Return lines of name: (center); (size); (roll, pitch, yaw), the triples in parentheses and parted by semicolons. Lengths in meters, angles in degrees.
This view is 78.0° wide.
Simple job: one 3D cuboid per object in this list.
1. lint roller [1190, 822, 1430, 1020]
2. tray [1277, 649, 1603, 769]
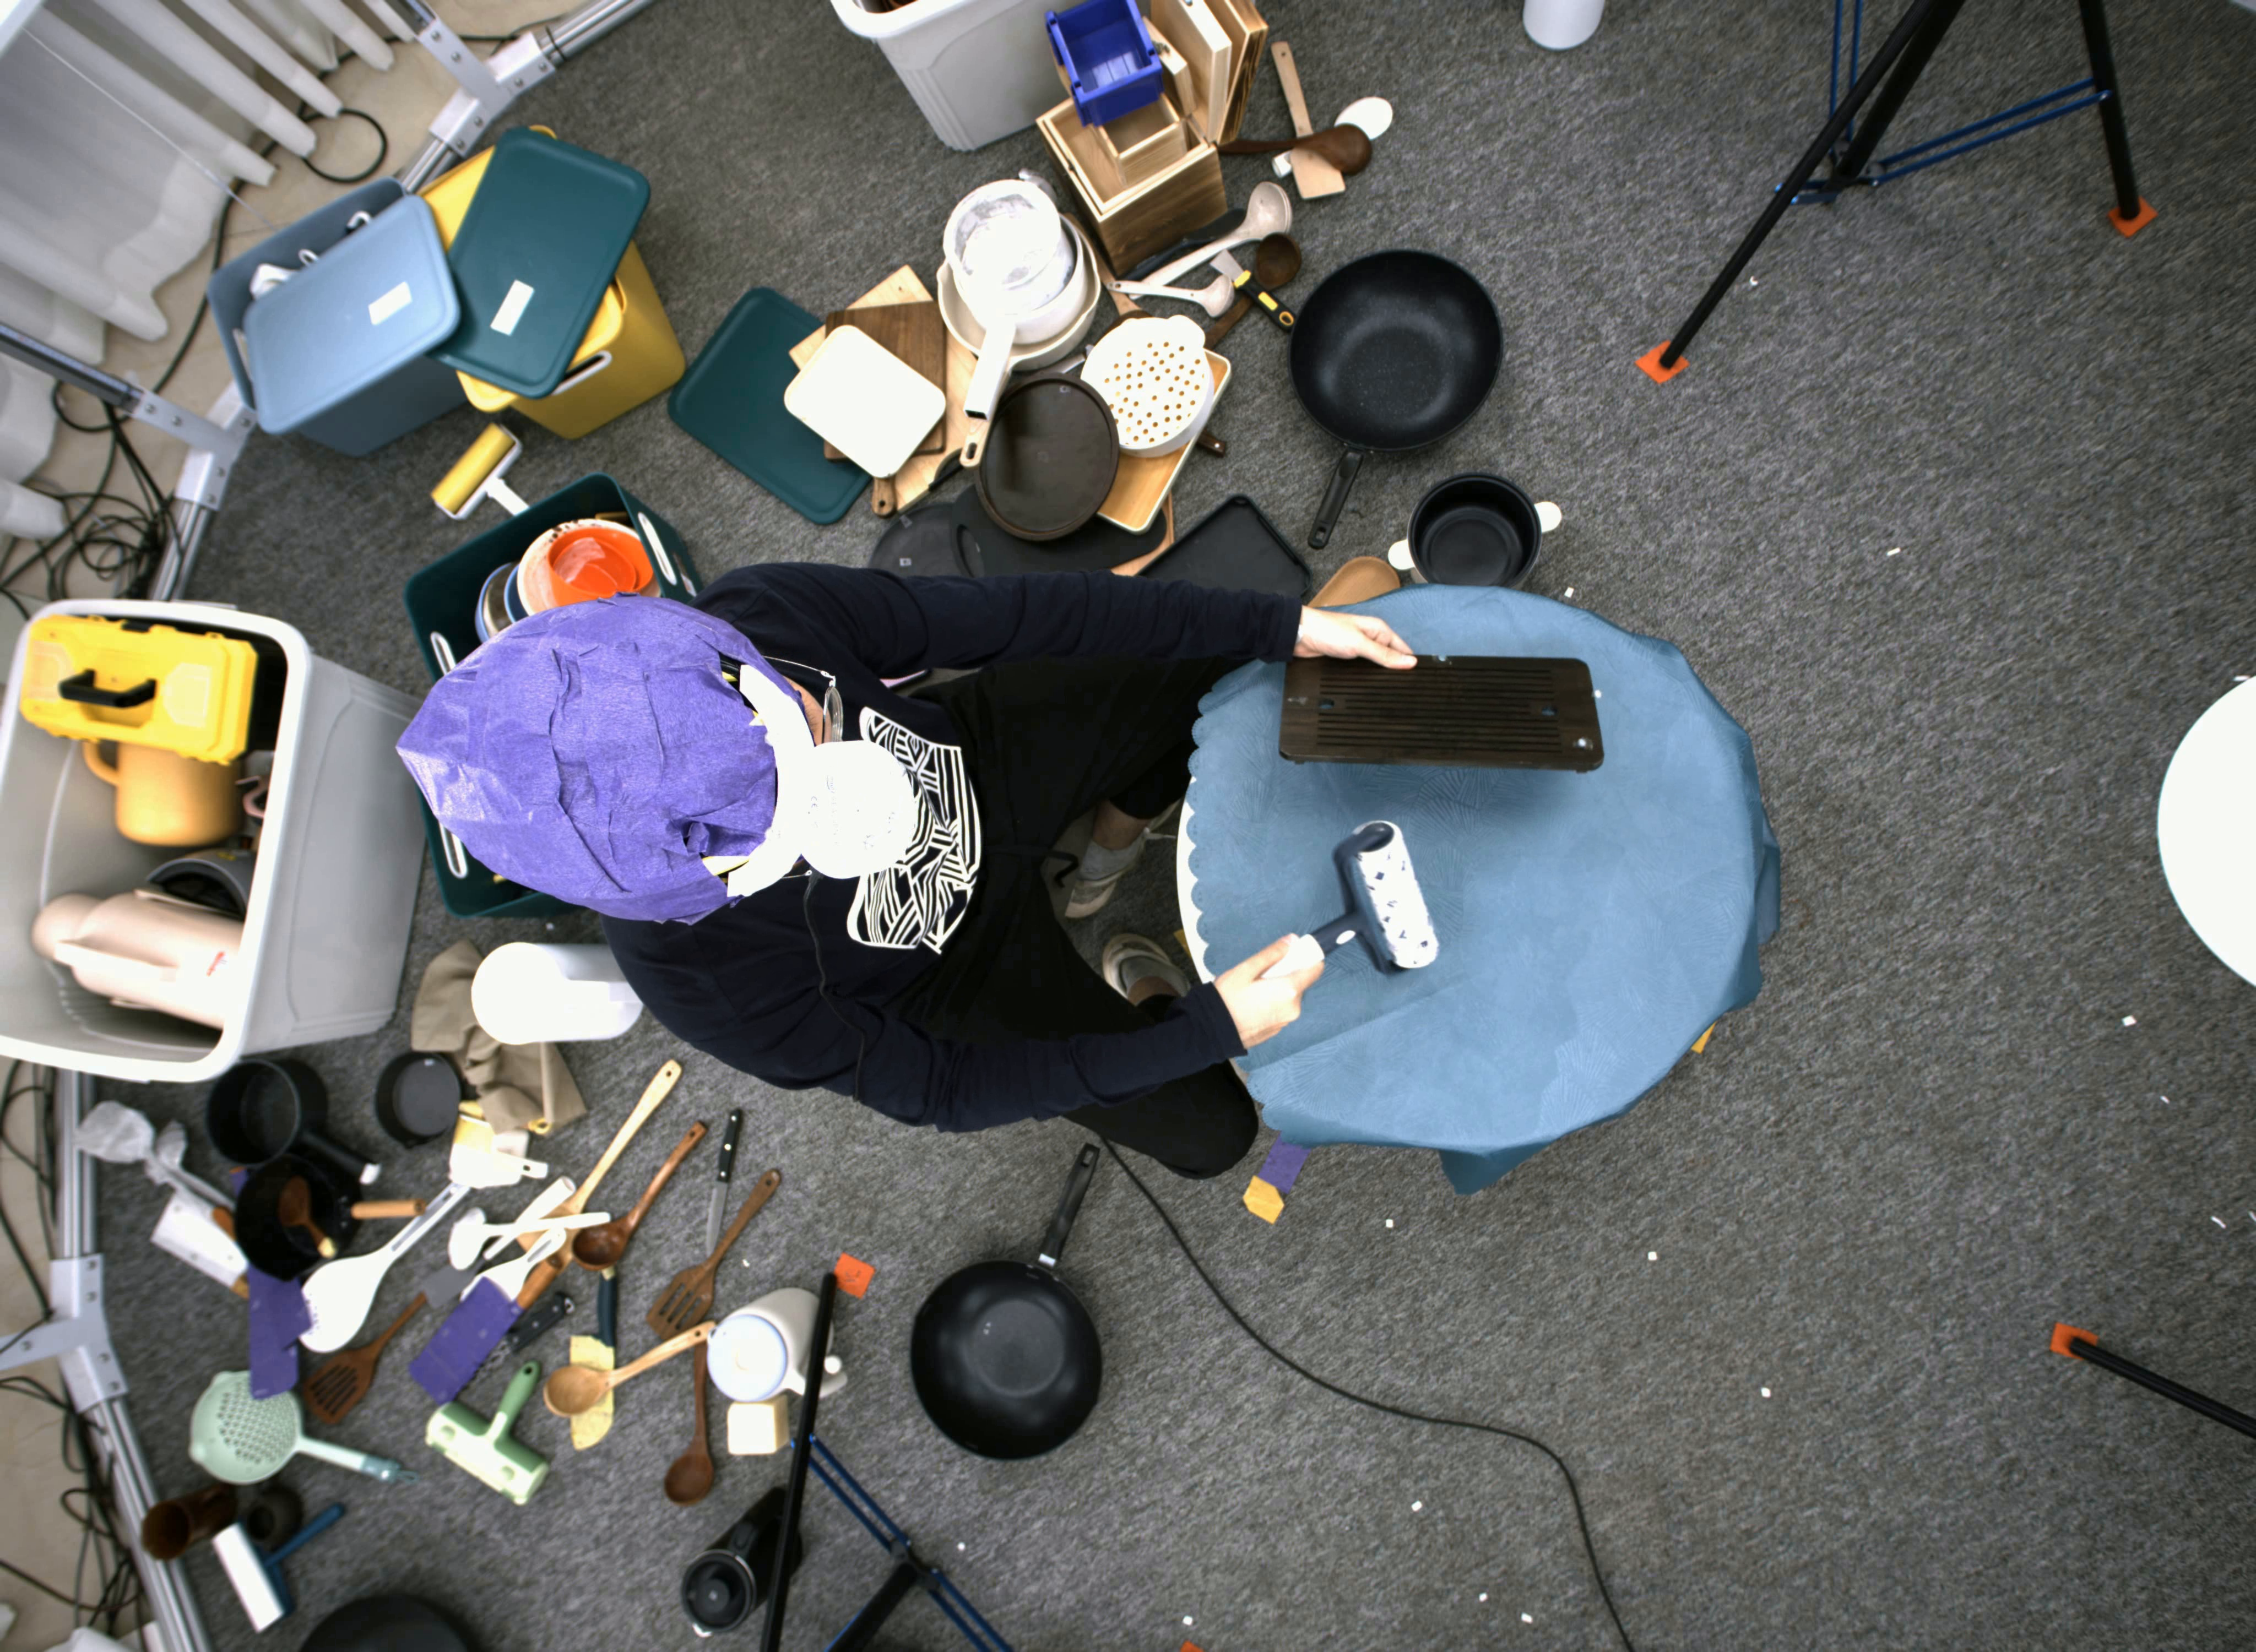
lint roller: (0.171, 0.121, 1.341); (0.246, 0.179, 0.049); (-32, 37, -6)
tray: (0.304, -0.118, 1.353); (0.307, 0.019, 0.165); (2, 44, 10)
